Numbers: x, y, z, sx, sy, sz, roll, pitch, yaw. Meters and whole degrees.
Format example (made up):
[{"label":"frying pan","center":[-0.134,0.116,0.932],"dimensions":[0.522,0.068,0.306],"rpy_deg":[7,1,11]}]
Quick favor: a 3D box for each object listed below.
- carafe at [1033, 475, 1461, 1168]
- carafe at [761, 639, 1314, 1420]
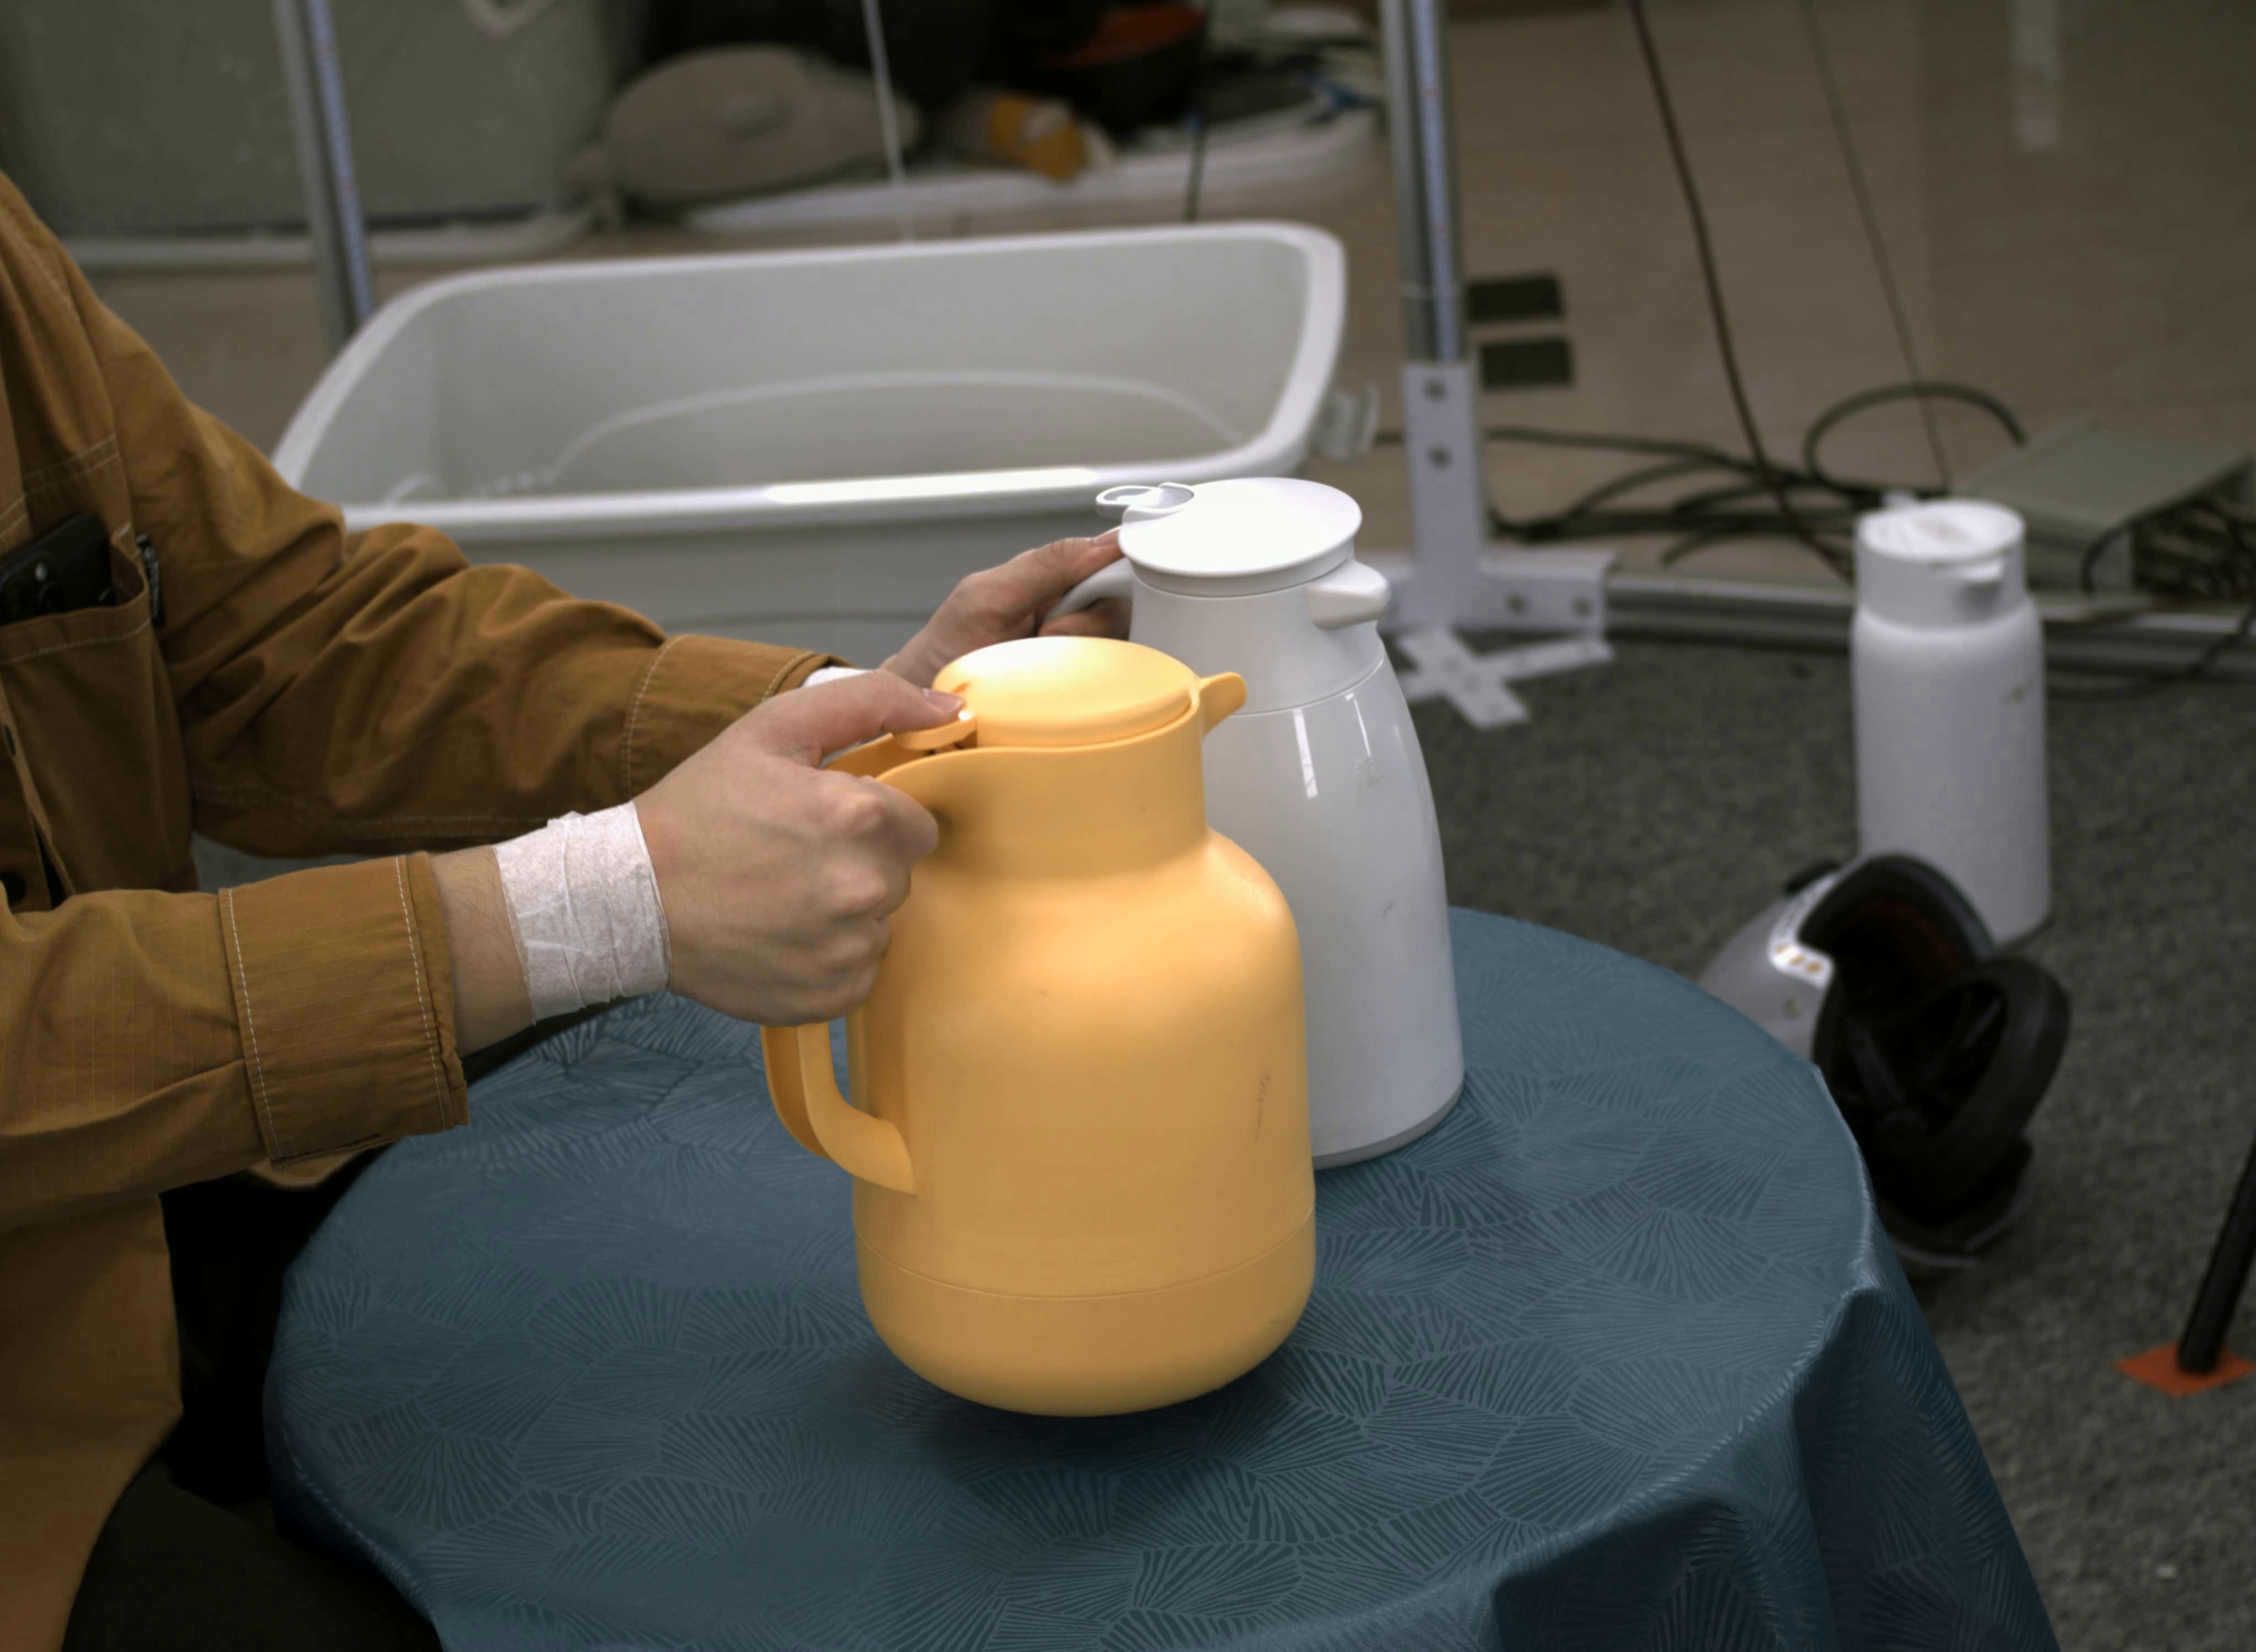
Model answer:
[{"label":"carafe","center":[0.037,-0.011,2.161],"dimensions":[0.167,0.252,0.131],"rpy_deg":[12,32,34]},{"label":"carafe","center":[-0.035,0.070,1.968],"dimensions":[0.201,0.264,0.162],"rpy_deg":[-14,23,-31]}]
